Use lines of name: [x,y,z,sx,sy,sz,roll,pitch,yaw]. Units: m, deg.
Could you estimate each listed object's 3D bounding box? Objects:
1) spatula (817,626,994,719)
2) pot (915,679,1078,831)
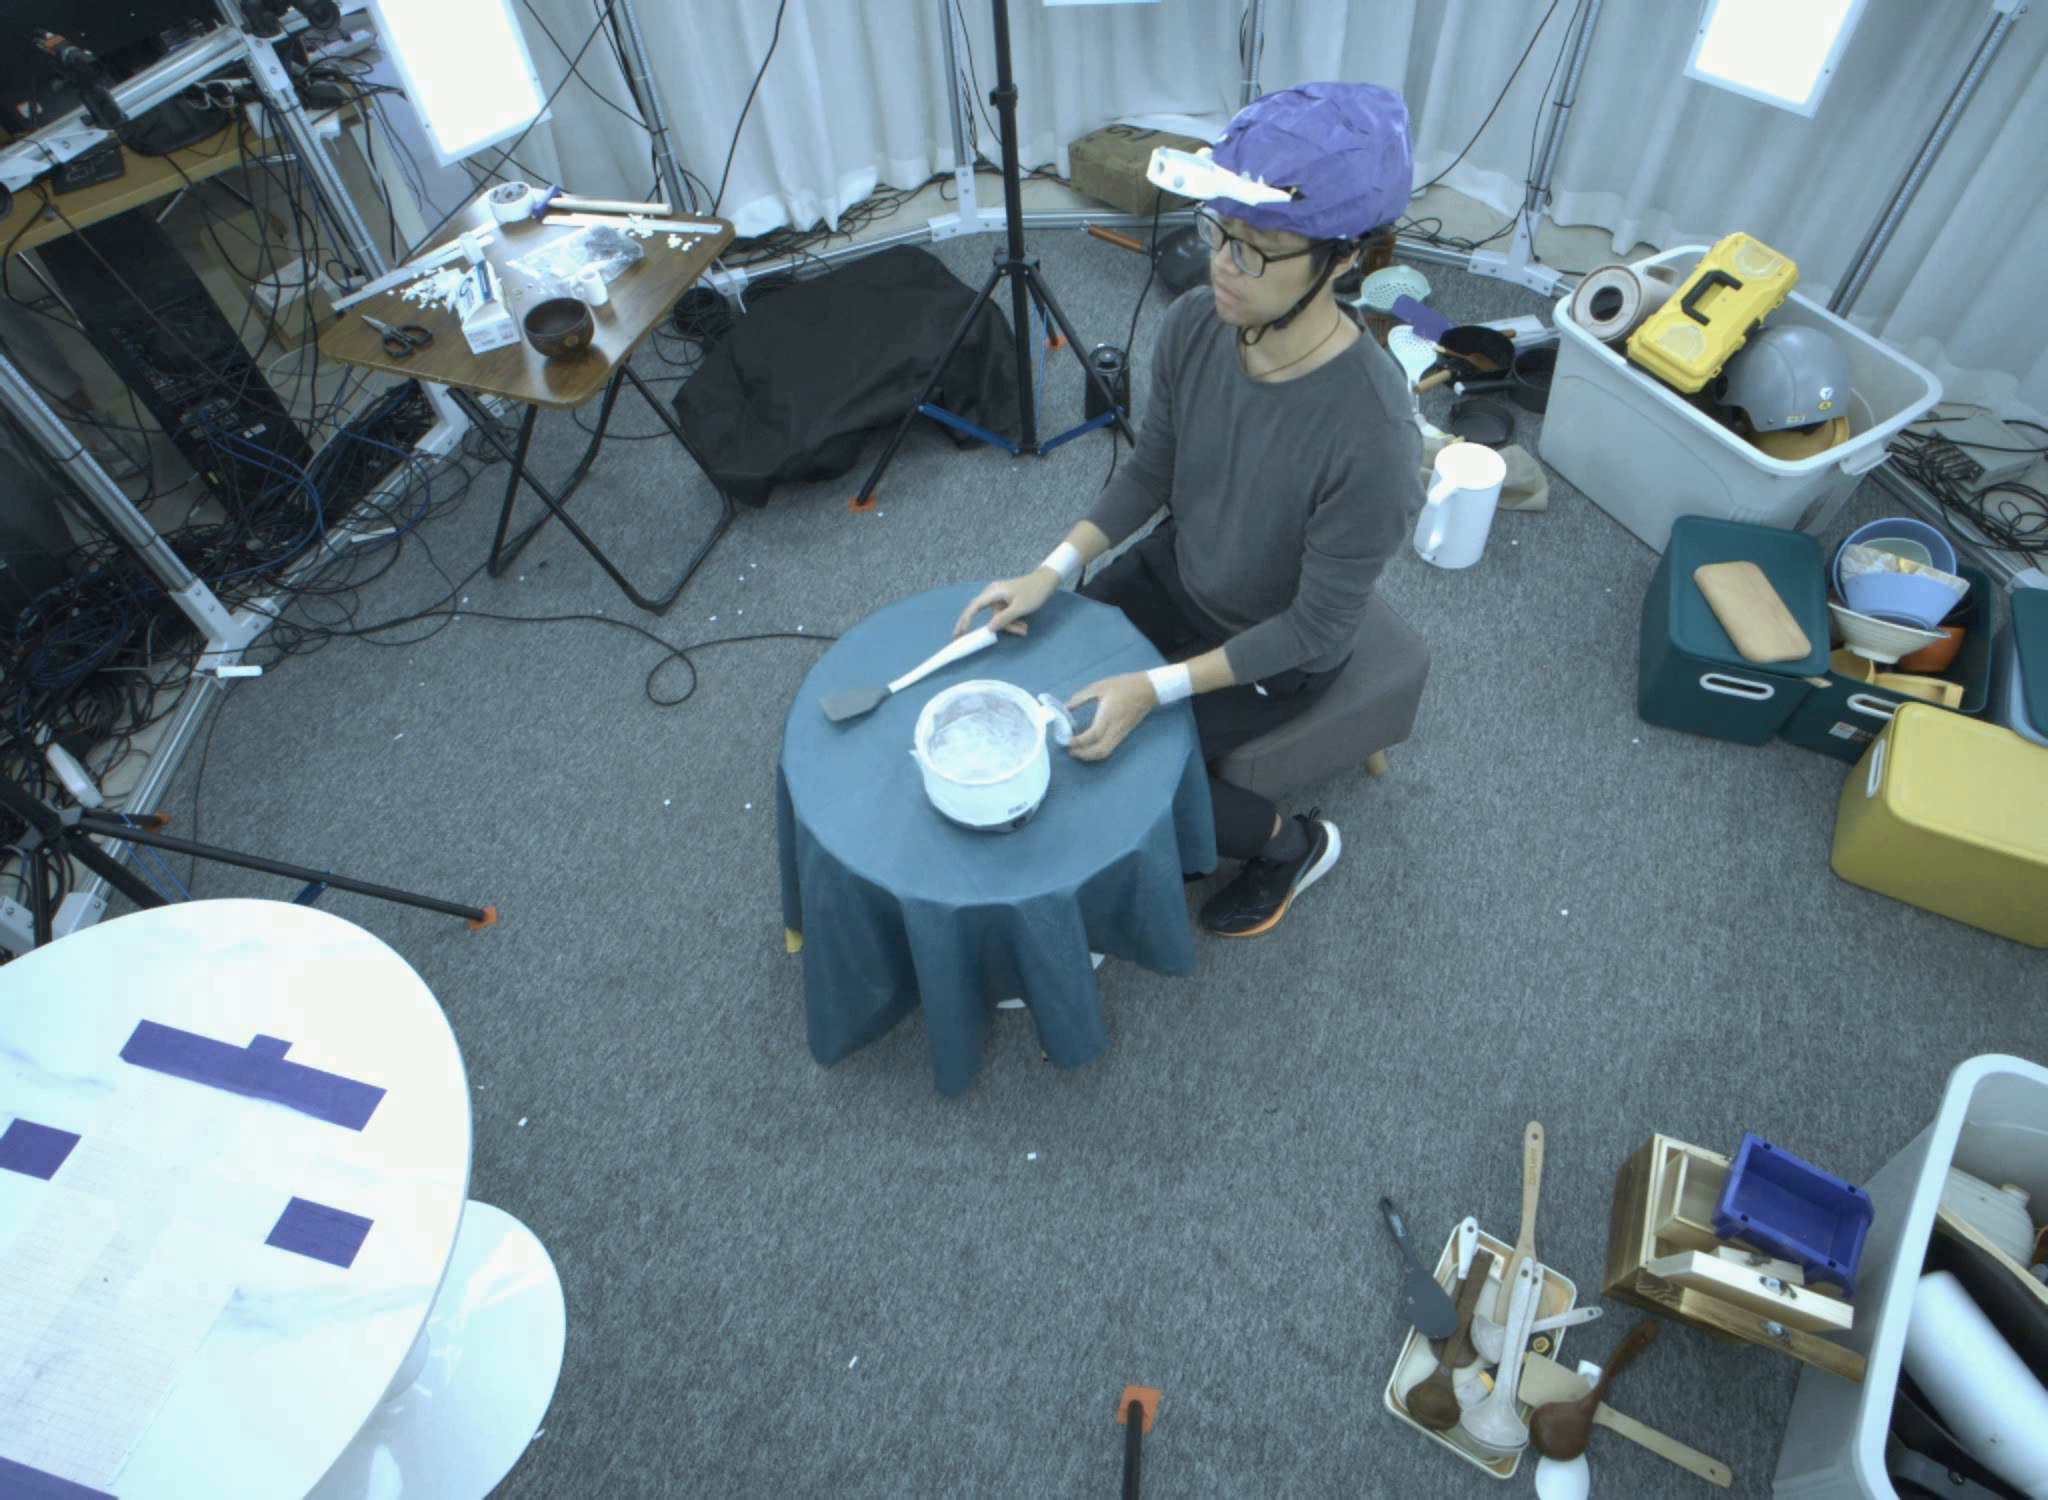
spatula: [-0.176,-0.117,1.863,0.290,0.032,0.057,-27,61,-17]
pot: [-0.031,-0.002,1.712,0.235,0.138,0.175,-28,58,-17]
